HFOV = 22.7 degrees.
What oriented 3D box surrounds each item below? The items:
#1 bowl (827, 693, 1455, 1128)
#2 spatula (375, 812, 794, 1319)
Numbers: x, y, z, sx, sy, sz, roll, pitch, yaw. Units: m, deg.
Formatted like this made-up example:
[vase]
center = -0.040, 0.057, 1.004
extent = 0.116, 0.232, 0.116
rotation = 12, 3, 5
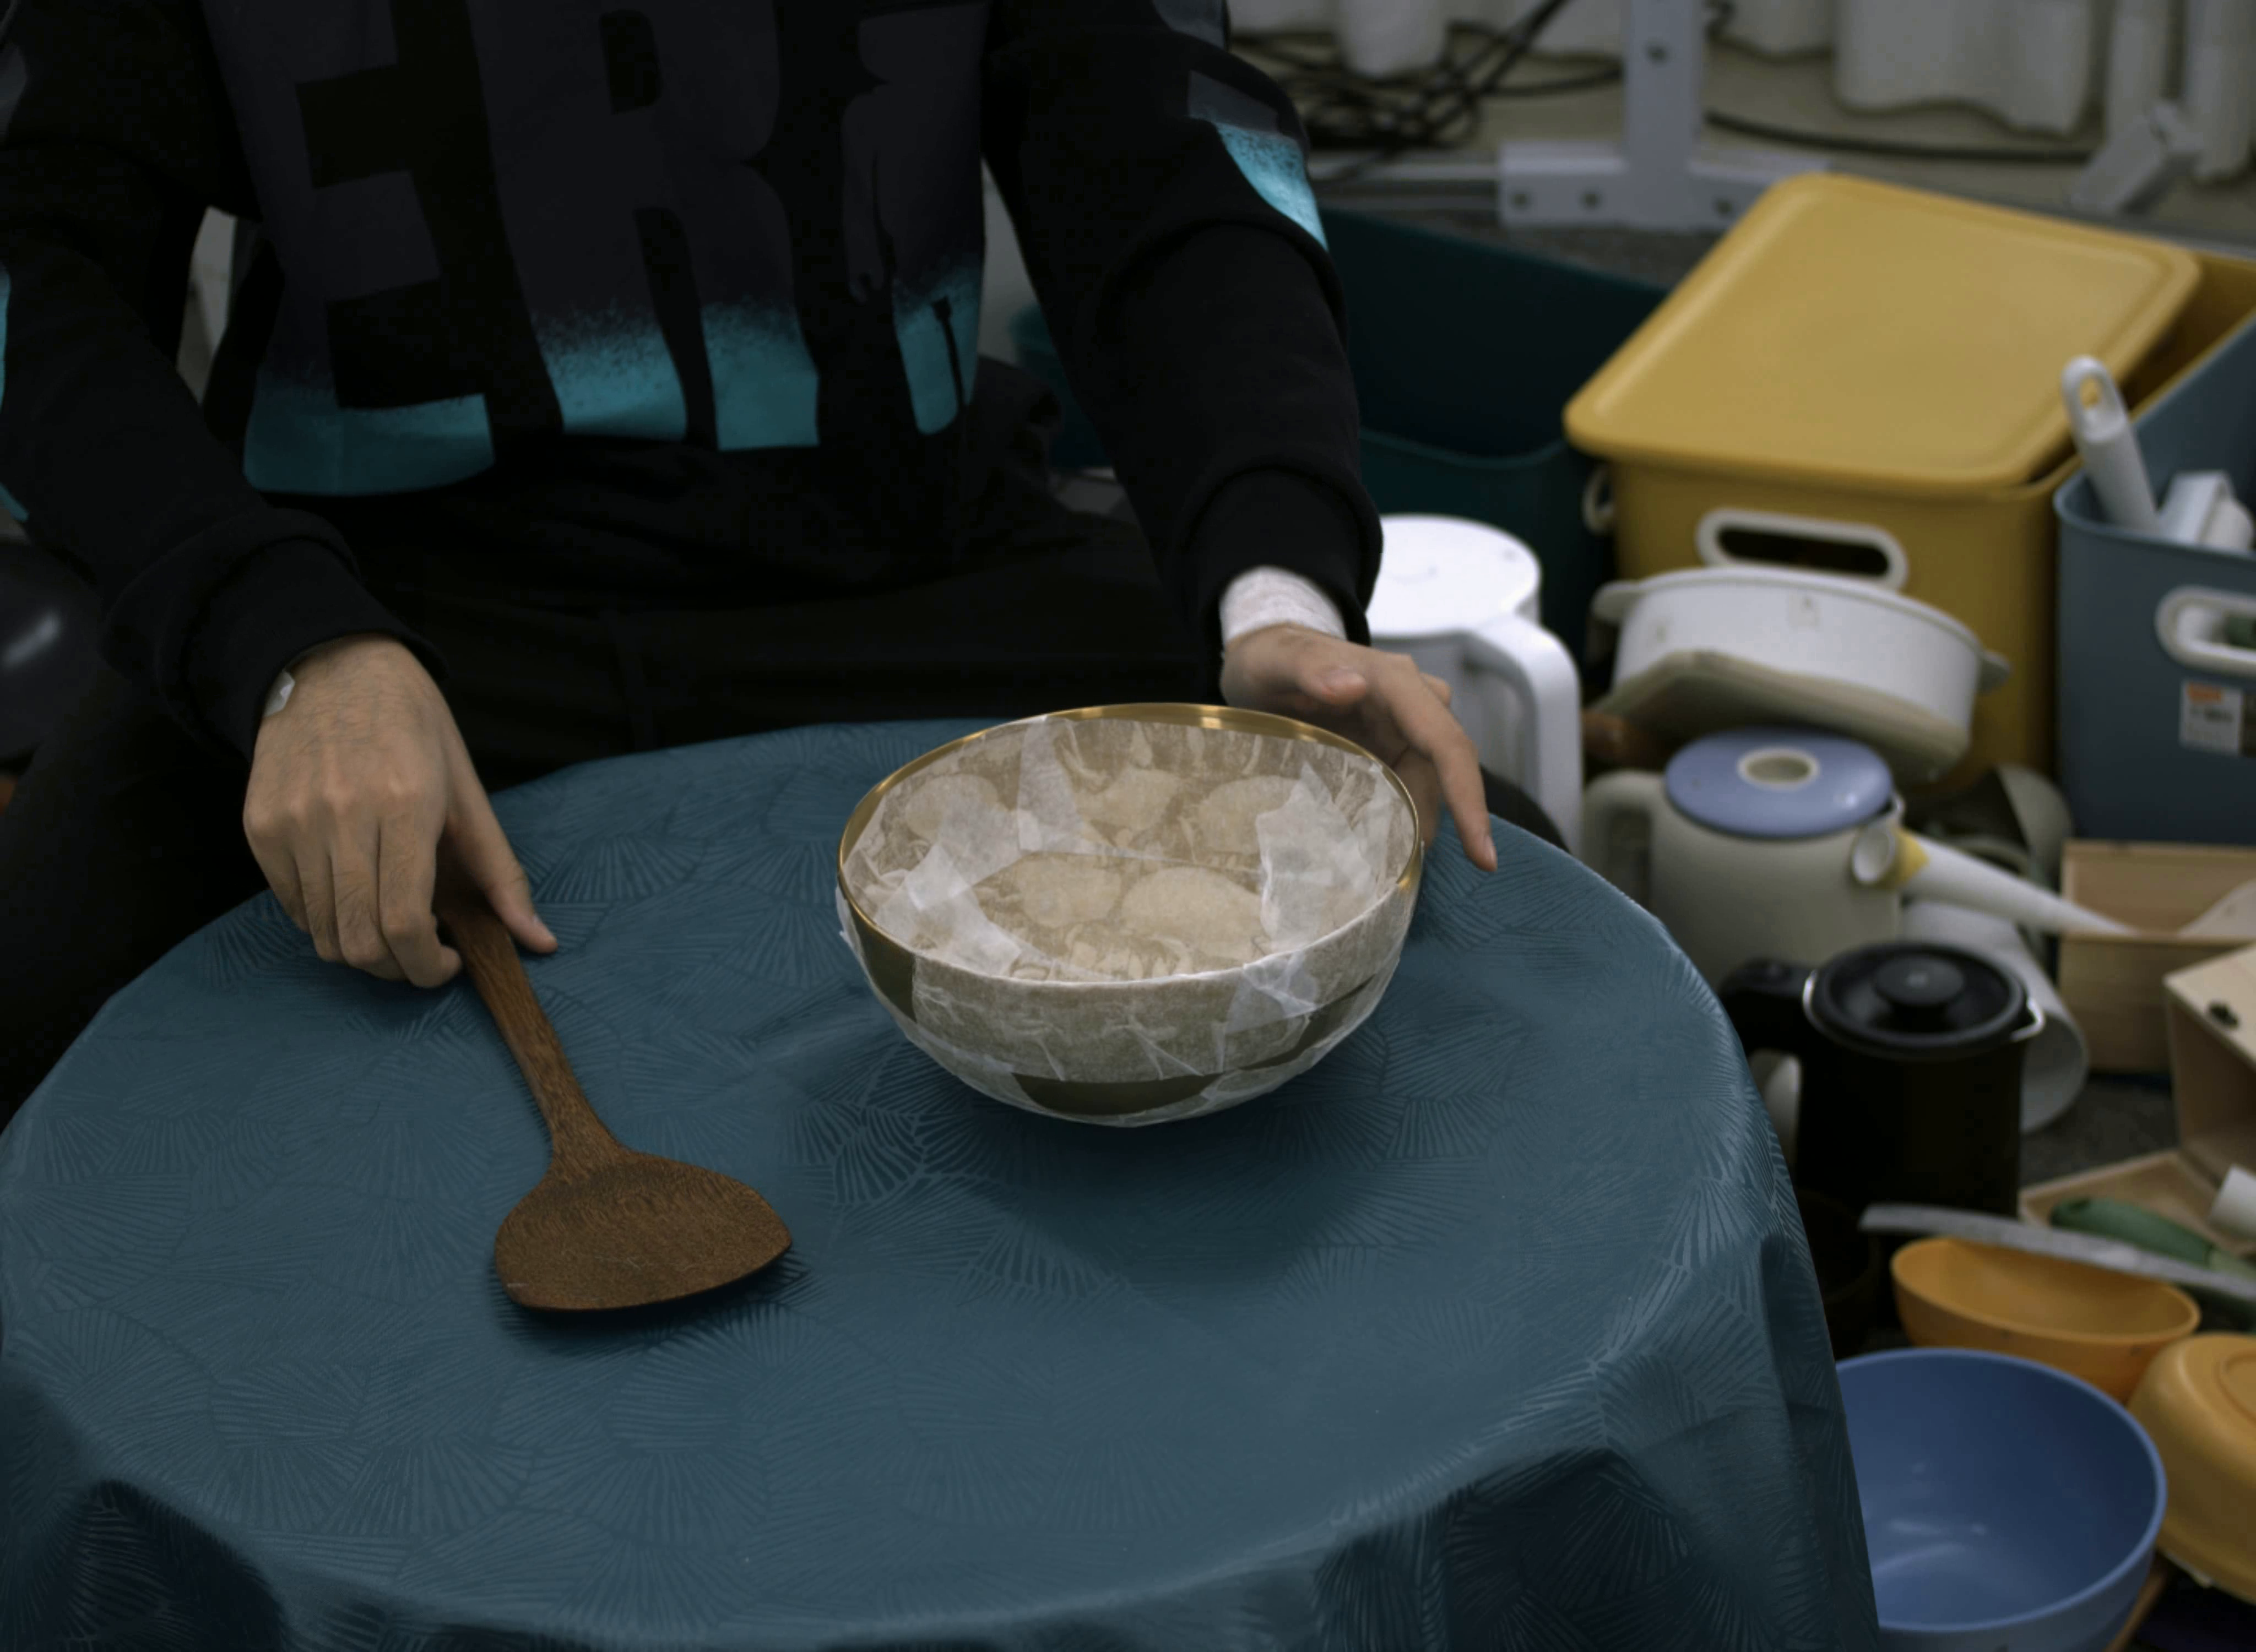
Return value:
[bowl]
center = 0.006, 0.041, 1.916
extent = 0.213, 0.093, 0.218
rotation = -4, 26, 2
[spatula]
center = -0.210, 0.075, 1.958
extent = 0.096, 0.015, 0.389
rotation = -11, 28, -16
